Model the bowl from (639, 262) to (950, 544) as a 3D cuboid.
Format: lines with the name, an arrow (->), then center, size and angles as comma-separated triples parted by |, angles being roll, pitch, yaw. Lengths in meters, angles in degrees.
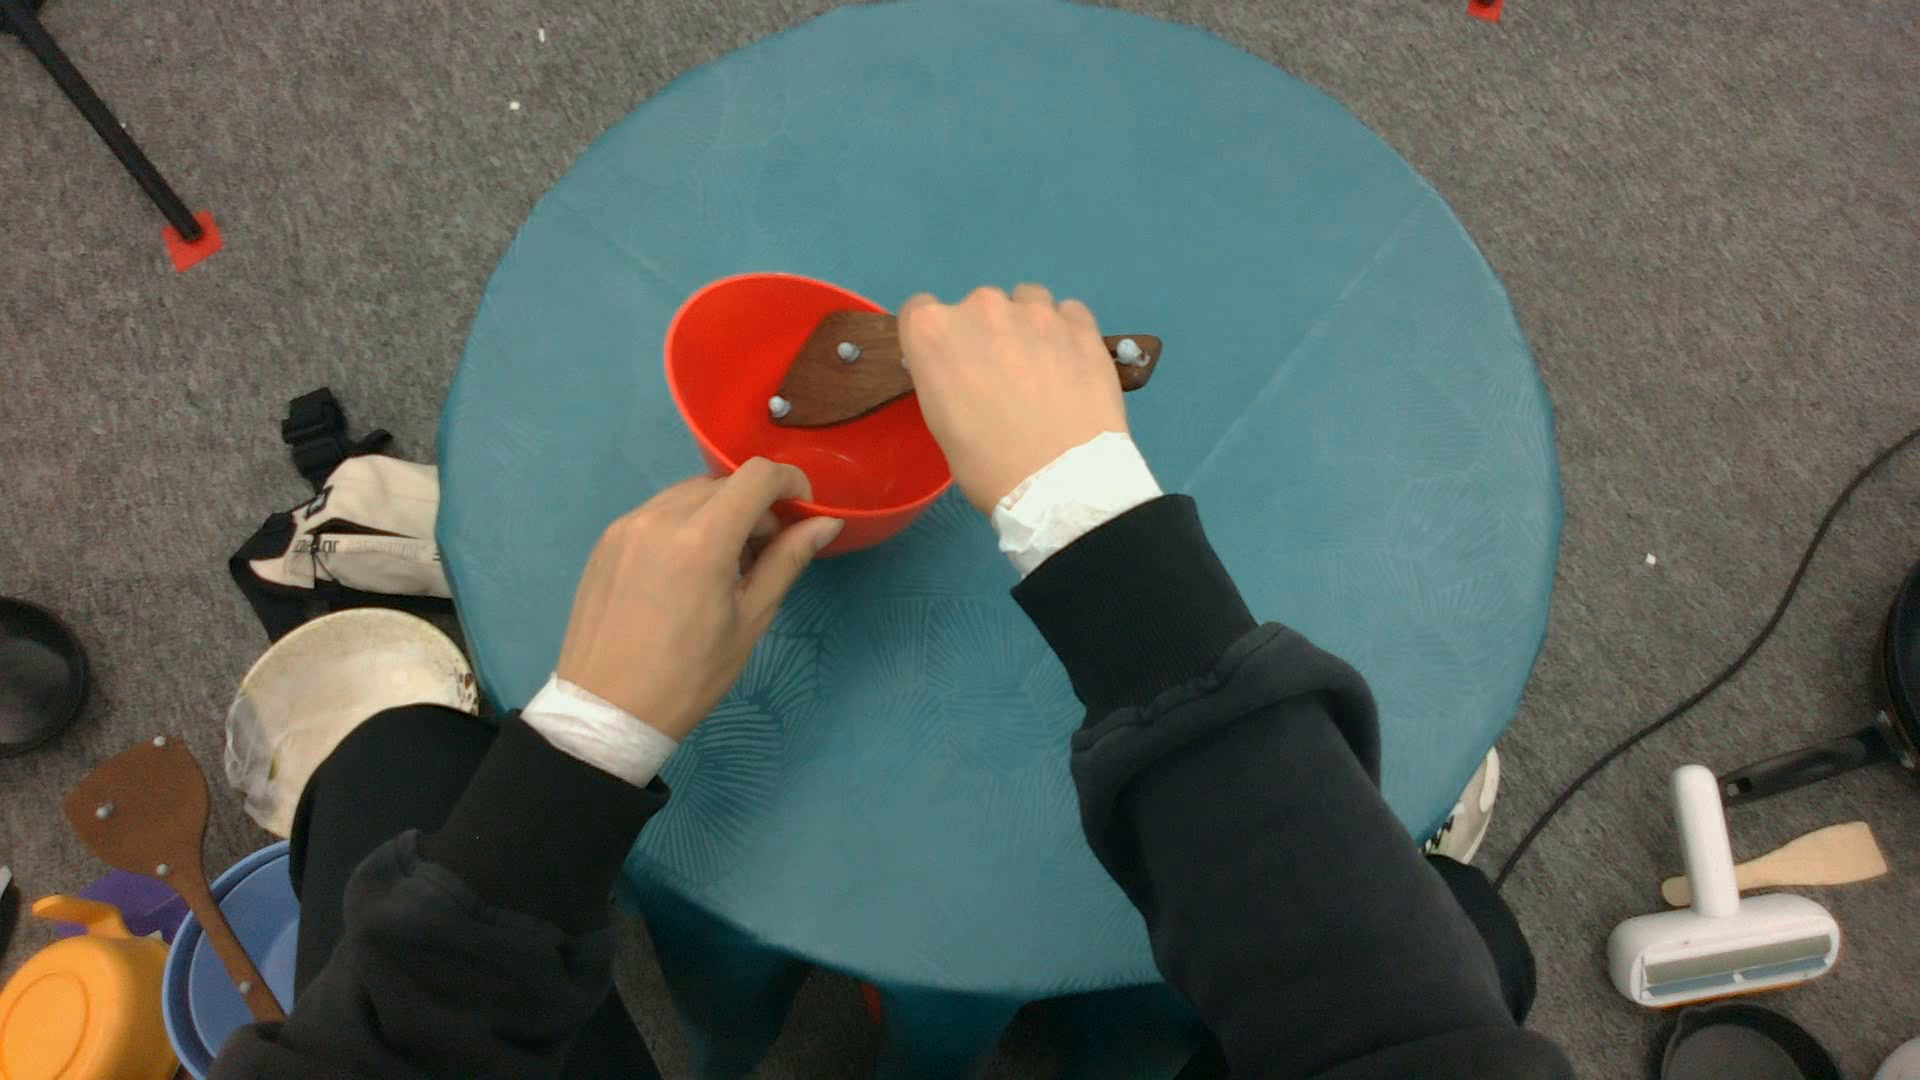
bowl -> -0.084, -0.053, 0.667 | 0.148, 0.104, 0.148 | 9, 51, -11

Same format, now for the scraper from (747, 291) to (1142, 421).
scraper -> -0.011, -0.084, 0.615 | 0.211, 0.011, 0.076 | 5, 60, 39
